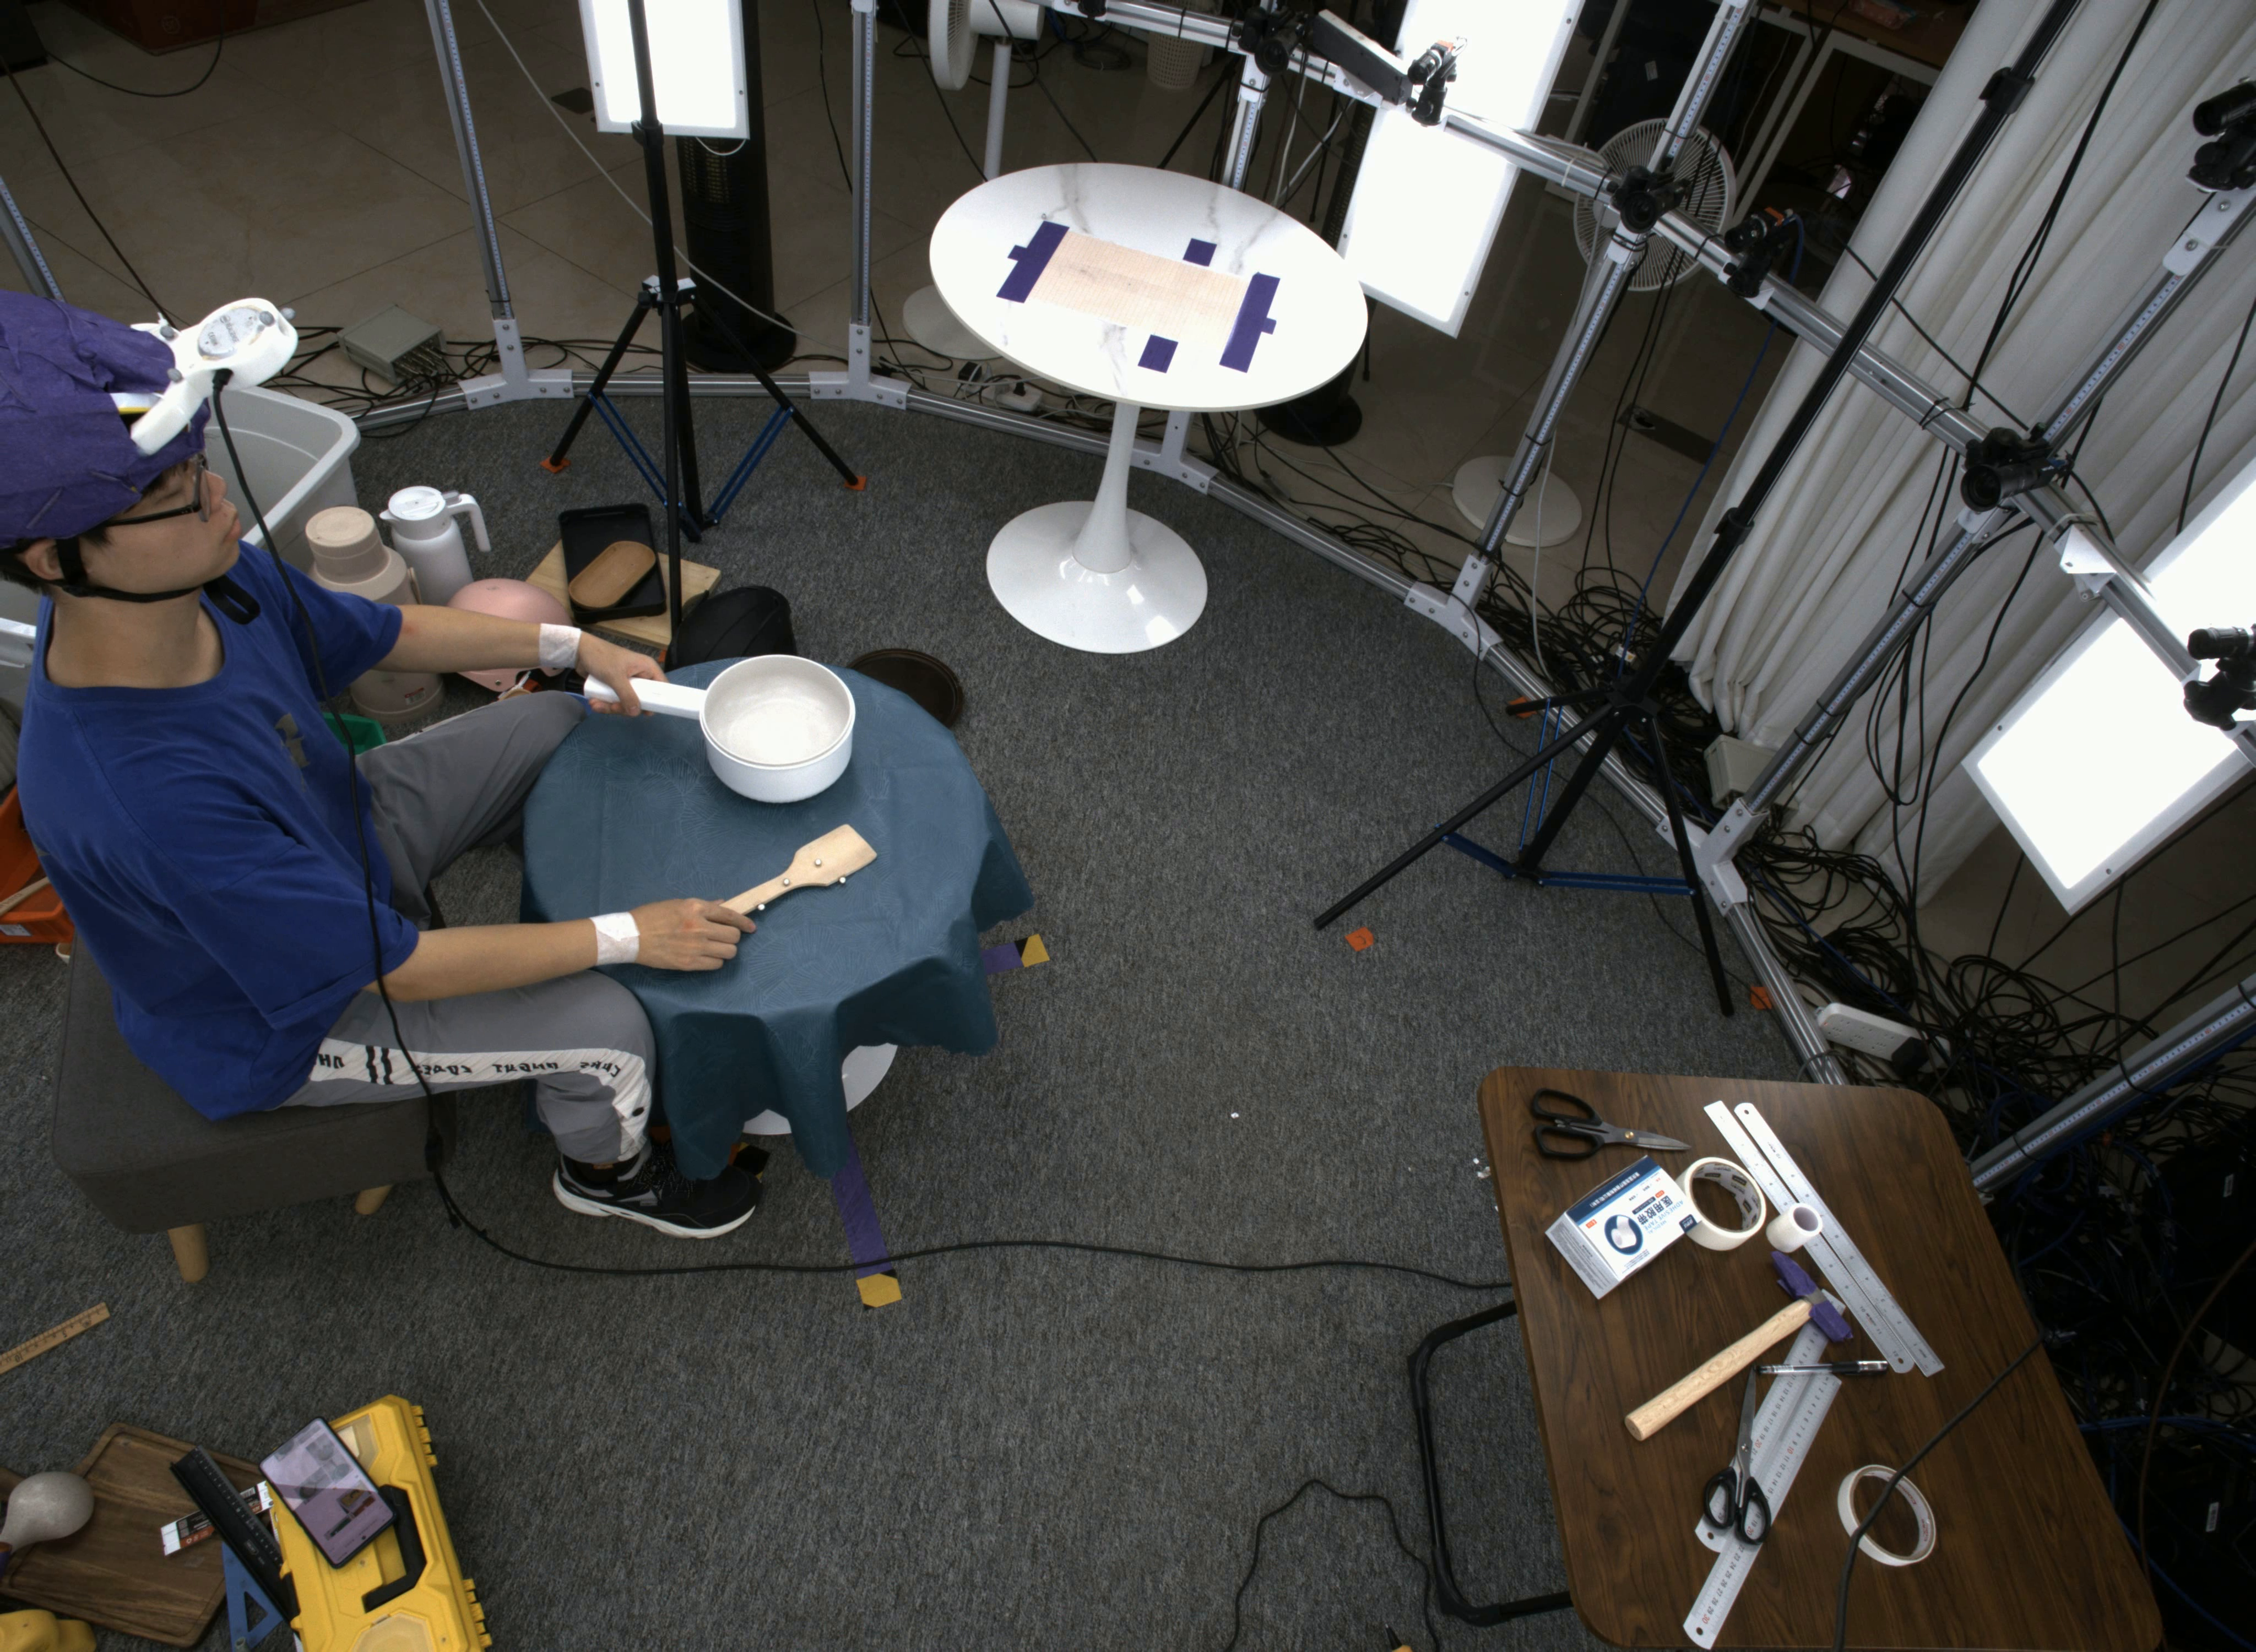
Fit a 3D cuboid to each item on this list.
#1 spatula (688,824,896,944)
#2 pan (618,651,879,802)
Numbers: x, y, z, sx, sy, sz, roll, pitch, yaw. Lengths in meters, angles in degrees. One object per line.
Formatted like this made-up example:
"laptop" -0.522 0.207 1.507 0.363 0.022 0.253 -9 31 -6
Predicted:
"spatula" -0.430 0.077 1.656 0.294 0.011 0.070 -30 66 -37
"pan" -0.516 -0.145 1.754 0.353 0.104 0.198 11 54 -7
